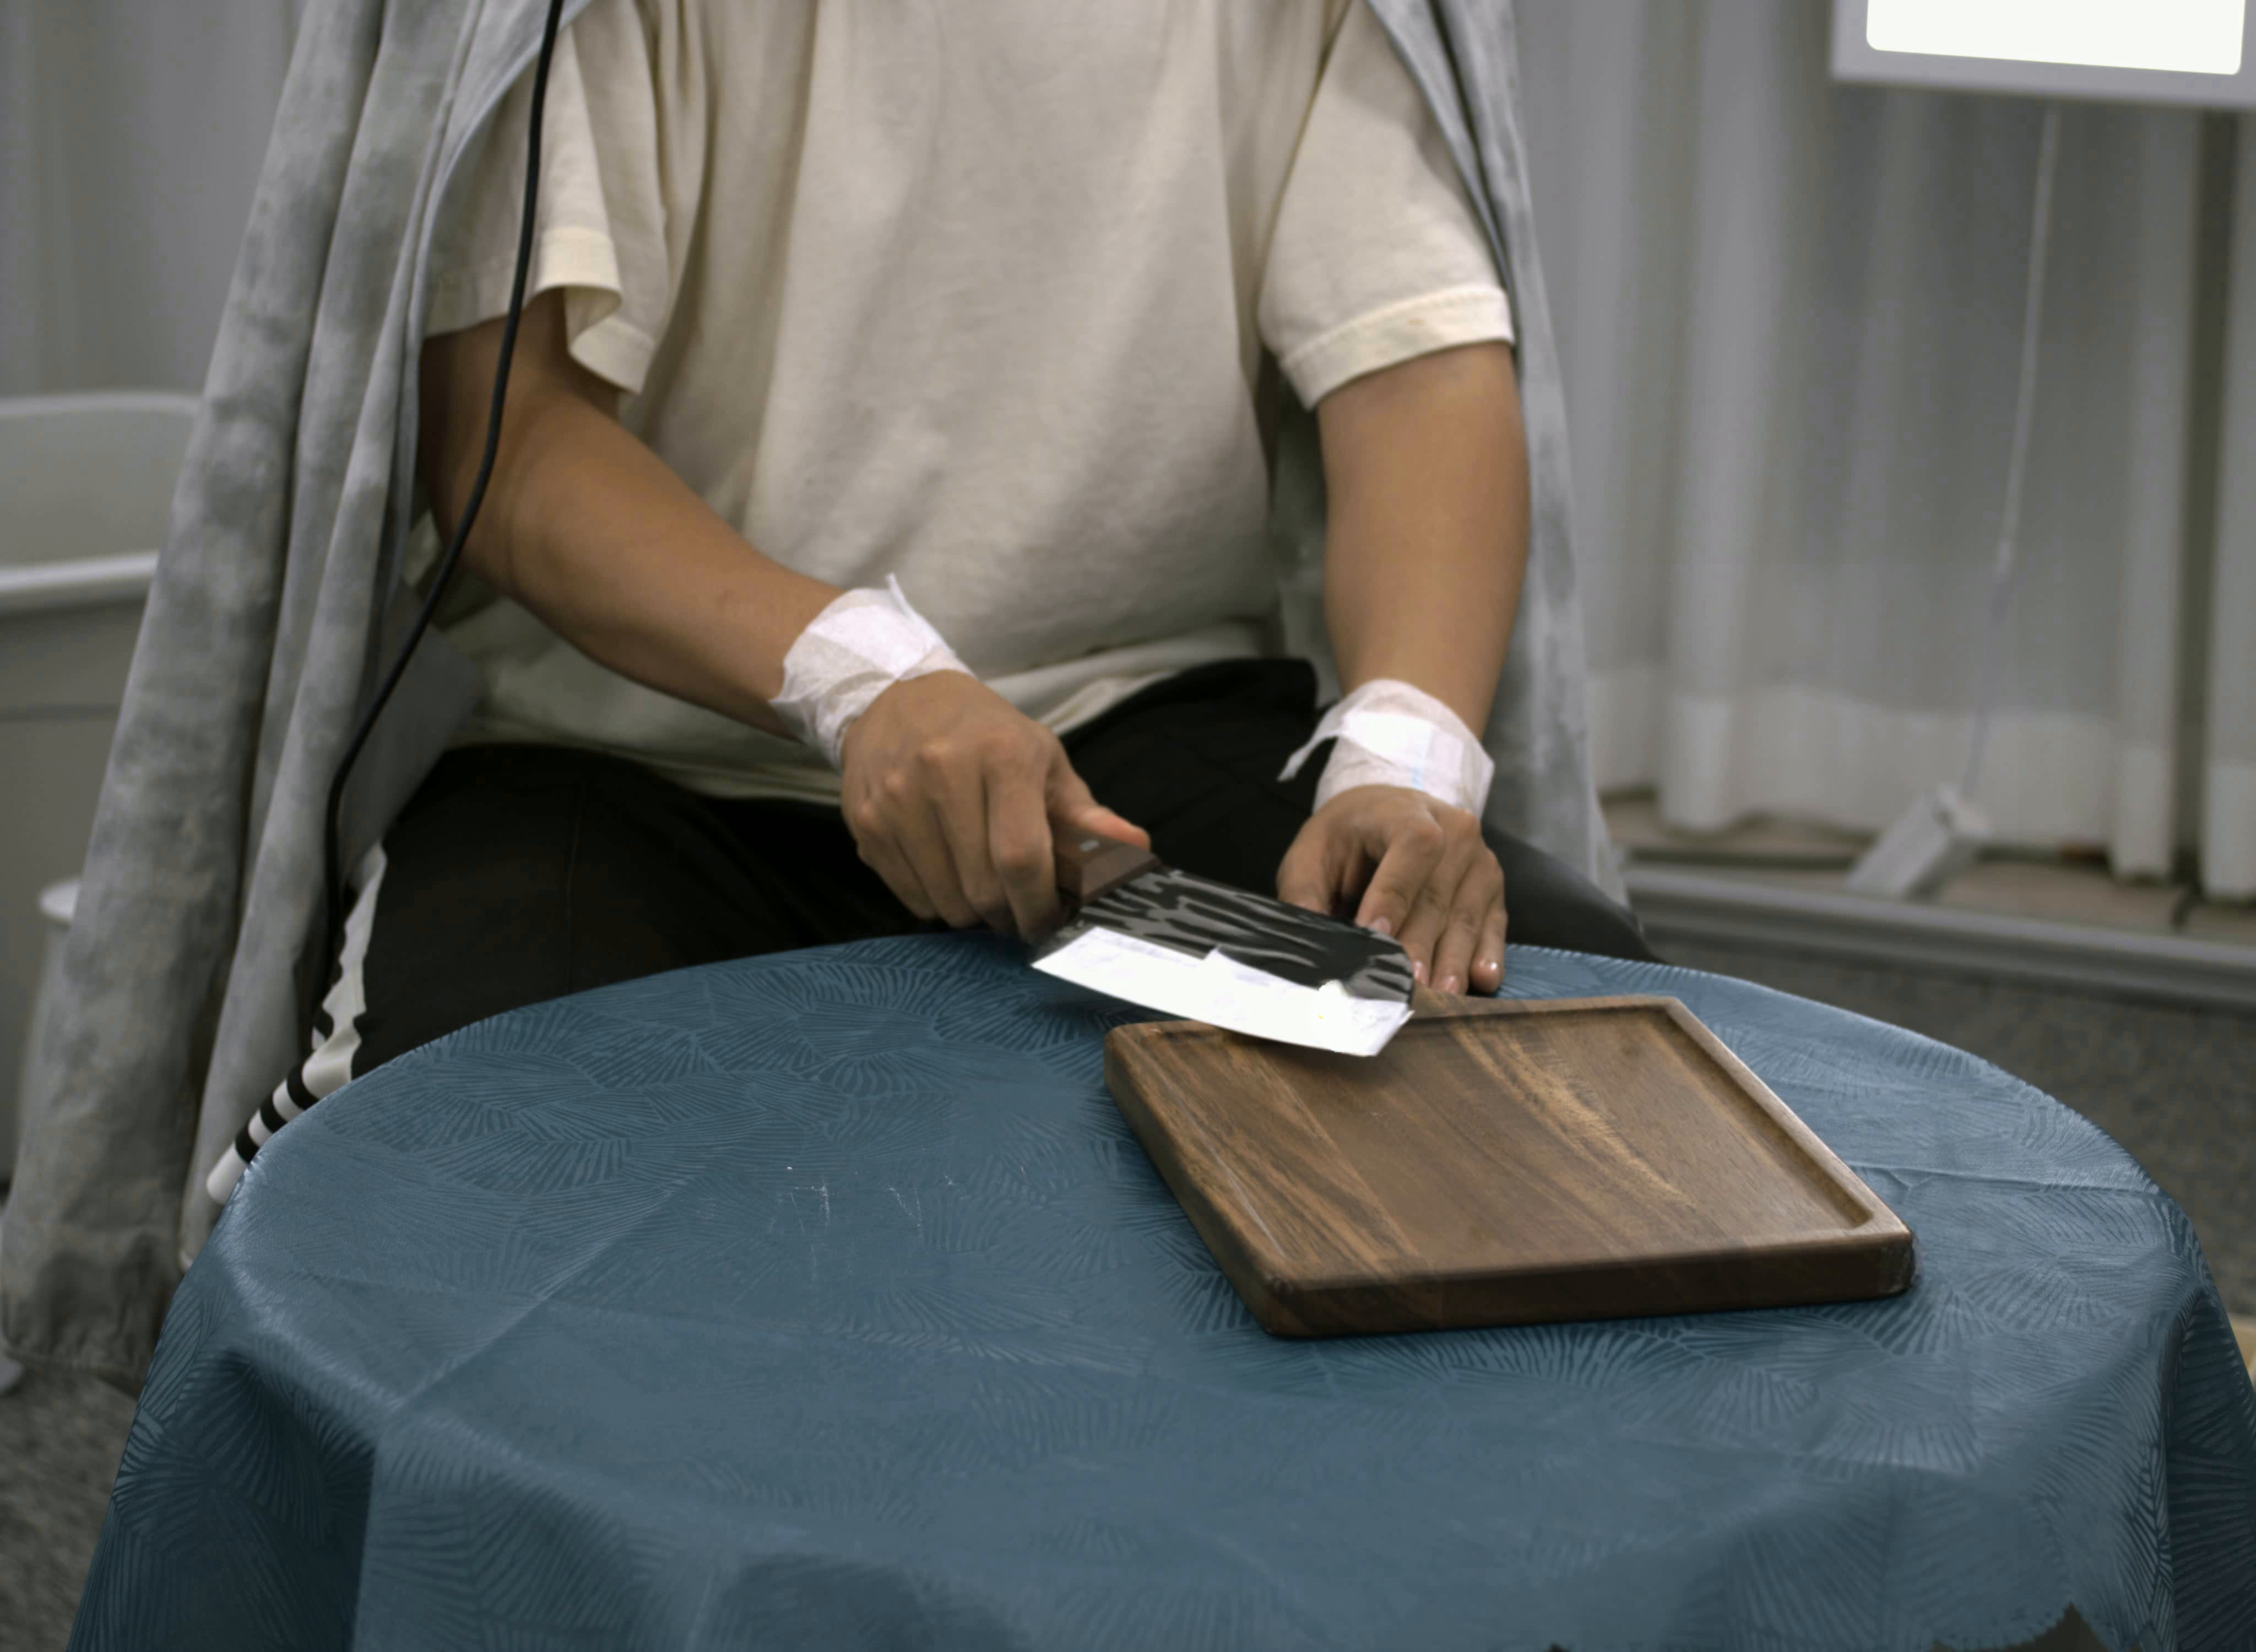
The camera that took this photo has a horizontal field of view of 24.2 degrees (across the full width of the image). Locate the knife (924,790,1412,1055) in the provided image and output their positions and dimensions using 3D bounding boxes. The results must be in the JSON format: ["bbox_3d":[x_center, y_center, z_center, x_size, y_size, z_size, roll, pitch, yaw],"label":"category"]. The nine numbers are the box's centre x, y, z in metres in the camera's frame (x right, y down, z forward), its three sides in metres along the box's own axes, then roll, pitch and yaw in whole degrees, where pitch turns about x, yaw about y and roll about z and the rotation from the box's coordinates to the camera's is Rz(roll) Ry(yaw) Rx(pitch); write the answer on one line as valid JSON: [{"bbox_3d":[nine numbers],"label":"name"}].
[{"bbox_3d":[0.004,0.034,1.801,0.068,0.024,0.295,-33,29,-28],"label":"knife"}]

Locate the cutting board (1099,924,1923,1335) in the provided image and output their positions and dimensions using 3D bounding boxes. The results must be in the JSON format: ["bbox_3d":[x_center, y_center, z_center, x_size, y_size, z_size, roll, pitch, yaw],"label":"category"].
[{"bbox_3d":[0.102,0.088,1.679,0.201,0.023,0.349,-3,15,-12],"label":"cutting board"}]
